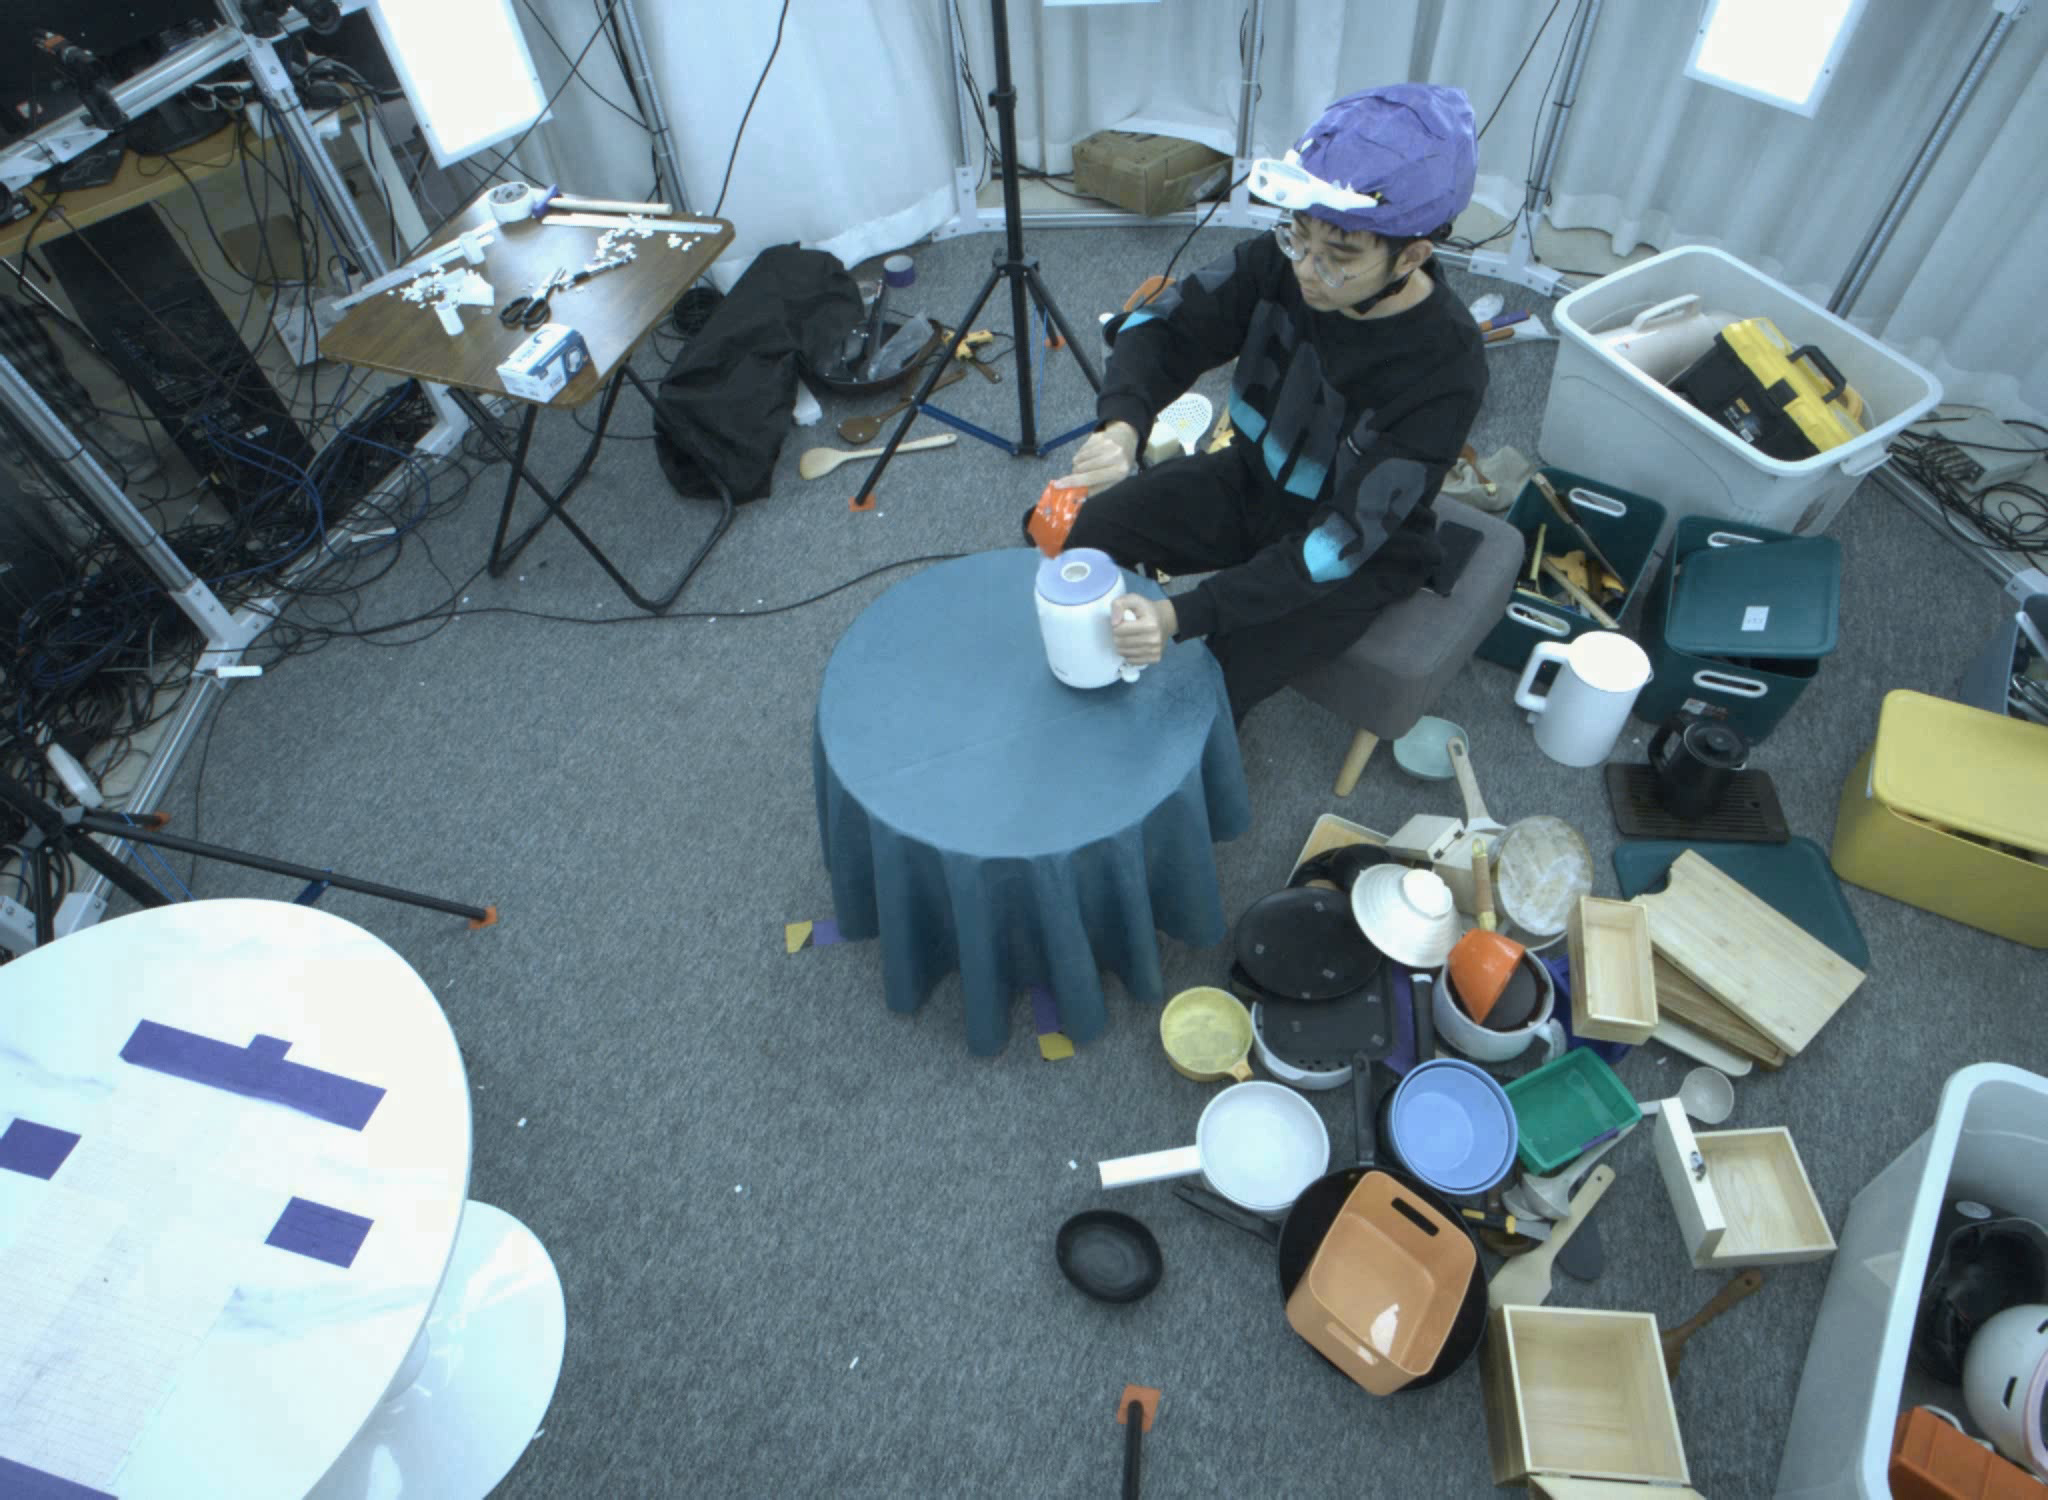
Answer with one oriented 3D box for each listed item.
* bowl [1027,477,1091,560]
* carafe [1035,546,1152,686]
[{"bbox_3d":[0.042,-0.322,1.659,0.051,0.119,0.119,27,59,3],"label":"bowl"},{"bbox_3d":[0.106,-0.183,1.780,0.187,0.185,0.133,33,65,31],"label":"carafe"}]
